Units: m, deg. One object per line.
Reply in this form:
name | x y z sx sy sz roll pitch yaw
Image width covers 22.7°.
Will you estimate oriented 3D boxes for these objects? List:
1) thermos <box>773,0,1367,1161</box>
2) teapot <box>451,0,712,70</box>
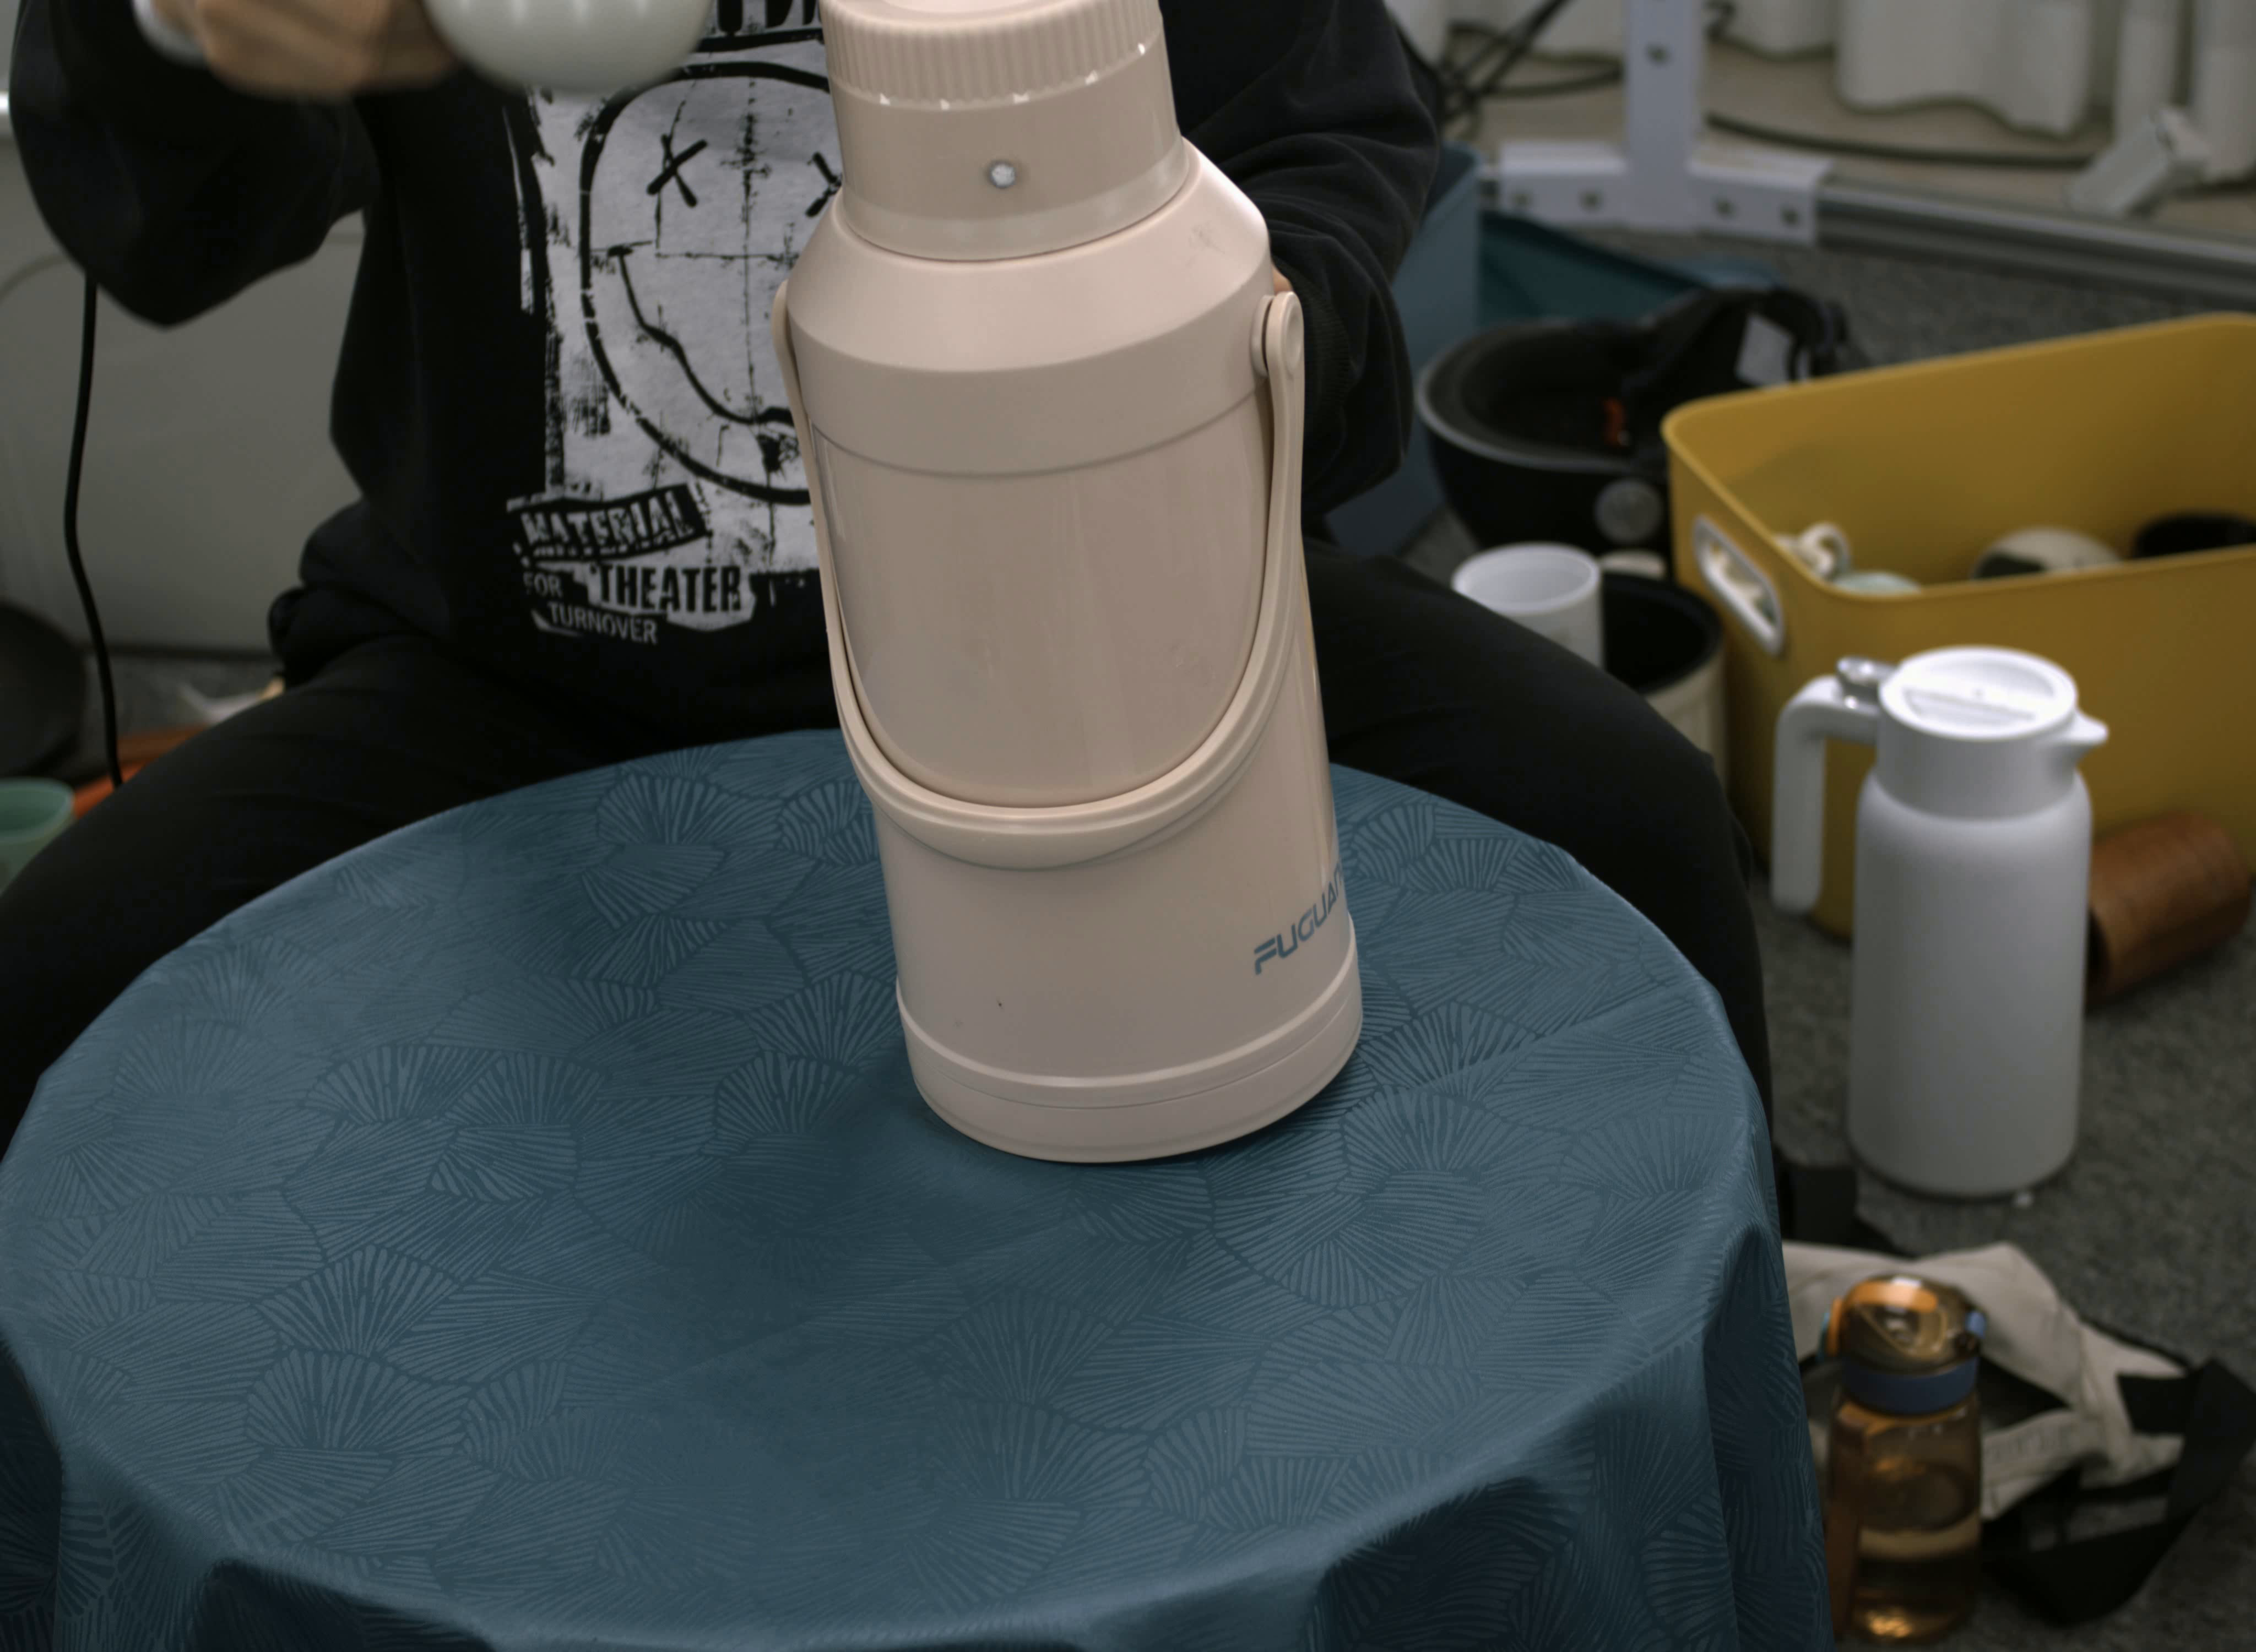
thermos | -0.015 -0.105 1.861 0.174 0.402 0.211 1 30 18
teapot | -0.181 -0.275 1.752 0.127 0.059 0.093 15 30 -7
